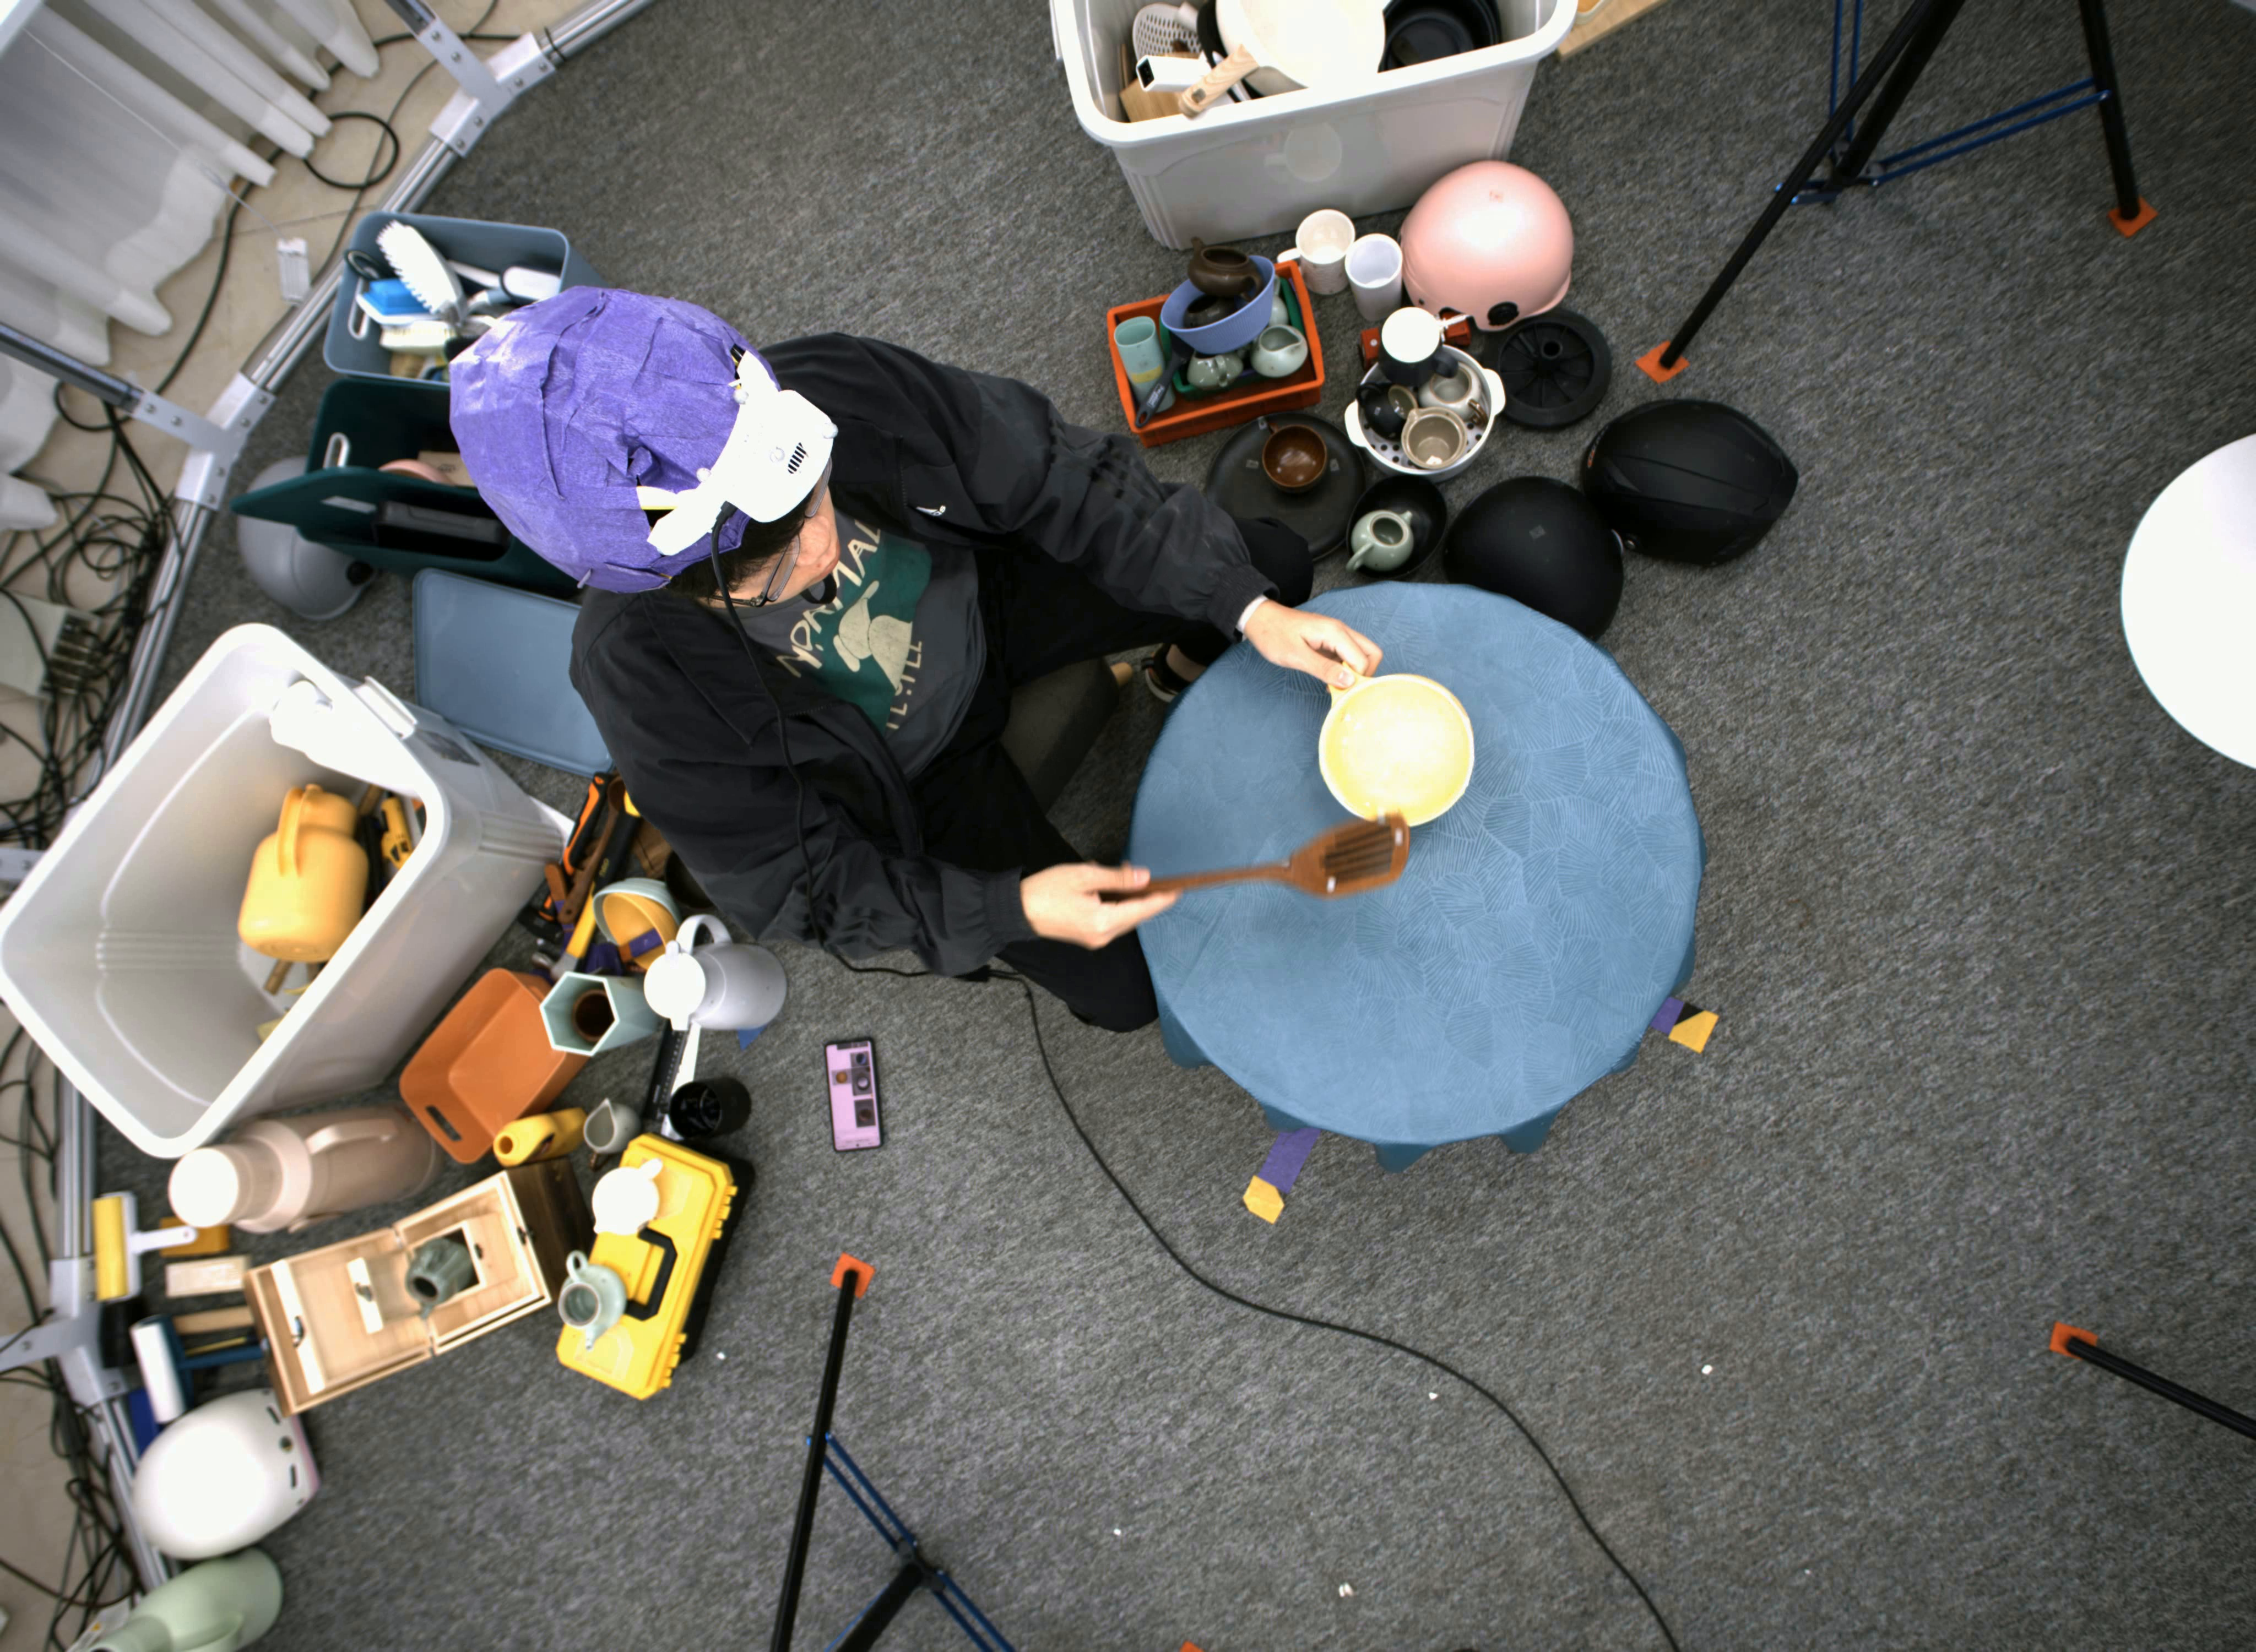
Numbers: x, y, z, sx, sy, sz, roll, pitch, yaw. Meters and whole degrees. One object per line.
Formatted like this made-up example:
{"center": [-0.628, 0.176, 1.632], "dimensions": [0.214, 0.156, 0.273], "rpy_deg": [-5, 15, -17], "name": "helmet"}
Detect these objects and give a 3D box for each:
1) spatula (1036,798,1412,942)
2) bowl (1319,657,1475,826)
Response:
{"center": [0.088, 0.056, 1.343], "dimensions": [0.390, 0.024, 0.083], "rpy_deg": [-17, 46, 16], "name": "spatula"}
{"center": [0.265, -0.093, 1.381], "dimensions": [0.179, 0.073, 0.156], "rpy_deg": [48, 115, 1], "name": "bowl"}
